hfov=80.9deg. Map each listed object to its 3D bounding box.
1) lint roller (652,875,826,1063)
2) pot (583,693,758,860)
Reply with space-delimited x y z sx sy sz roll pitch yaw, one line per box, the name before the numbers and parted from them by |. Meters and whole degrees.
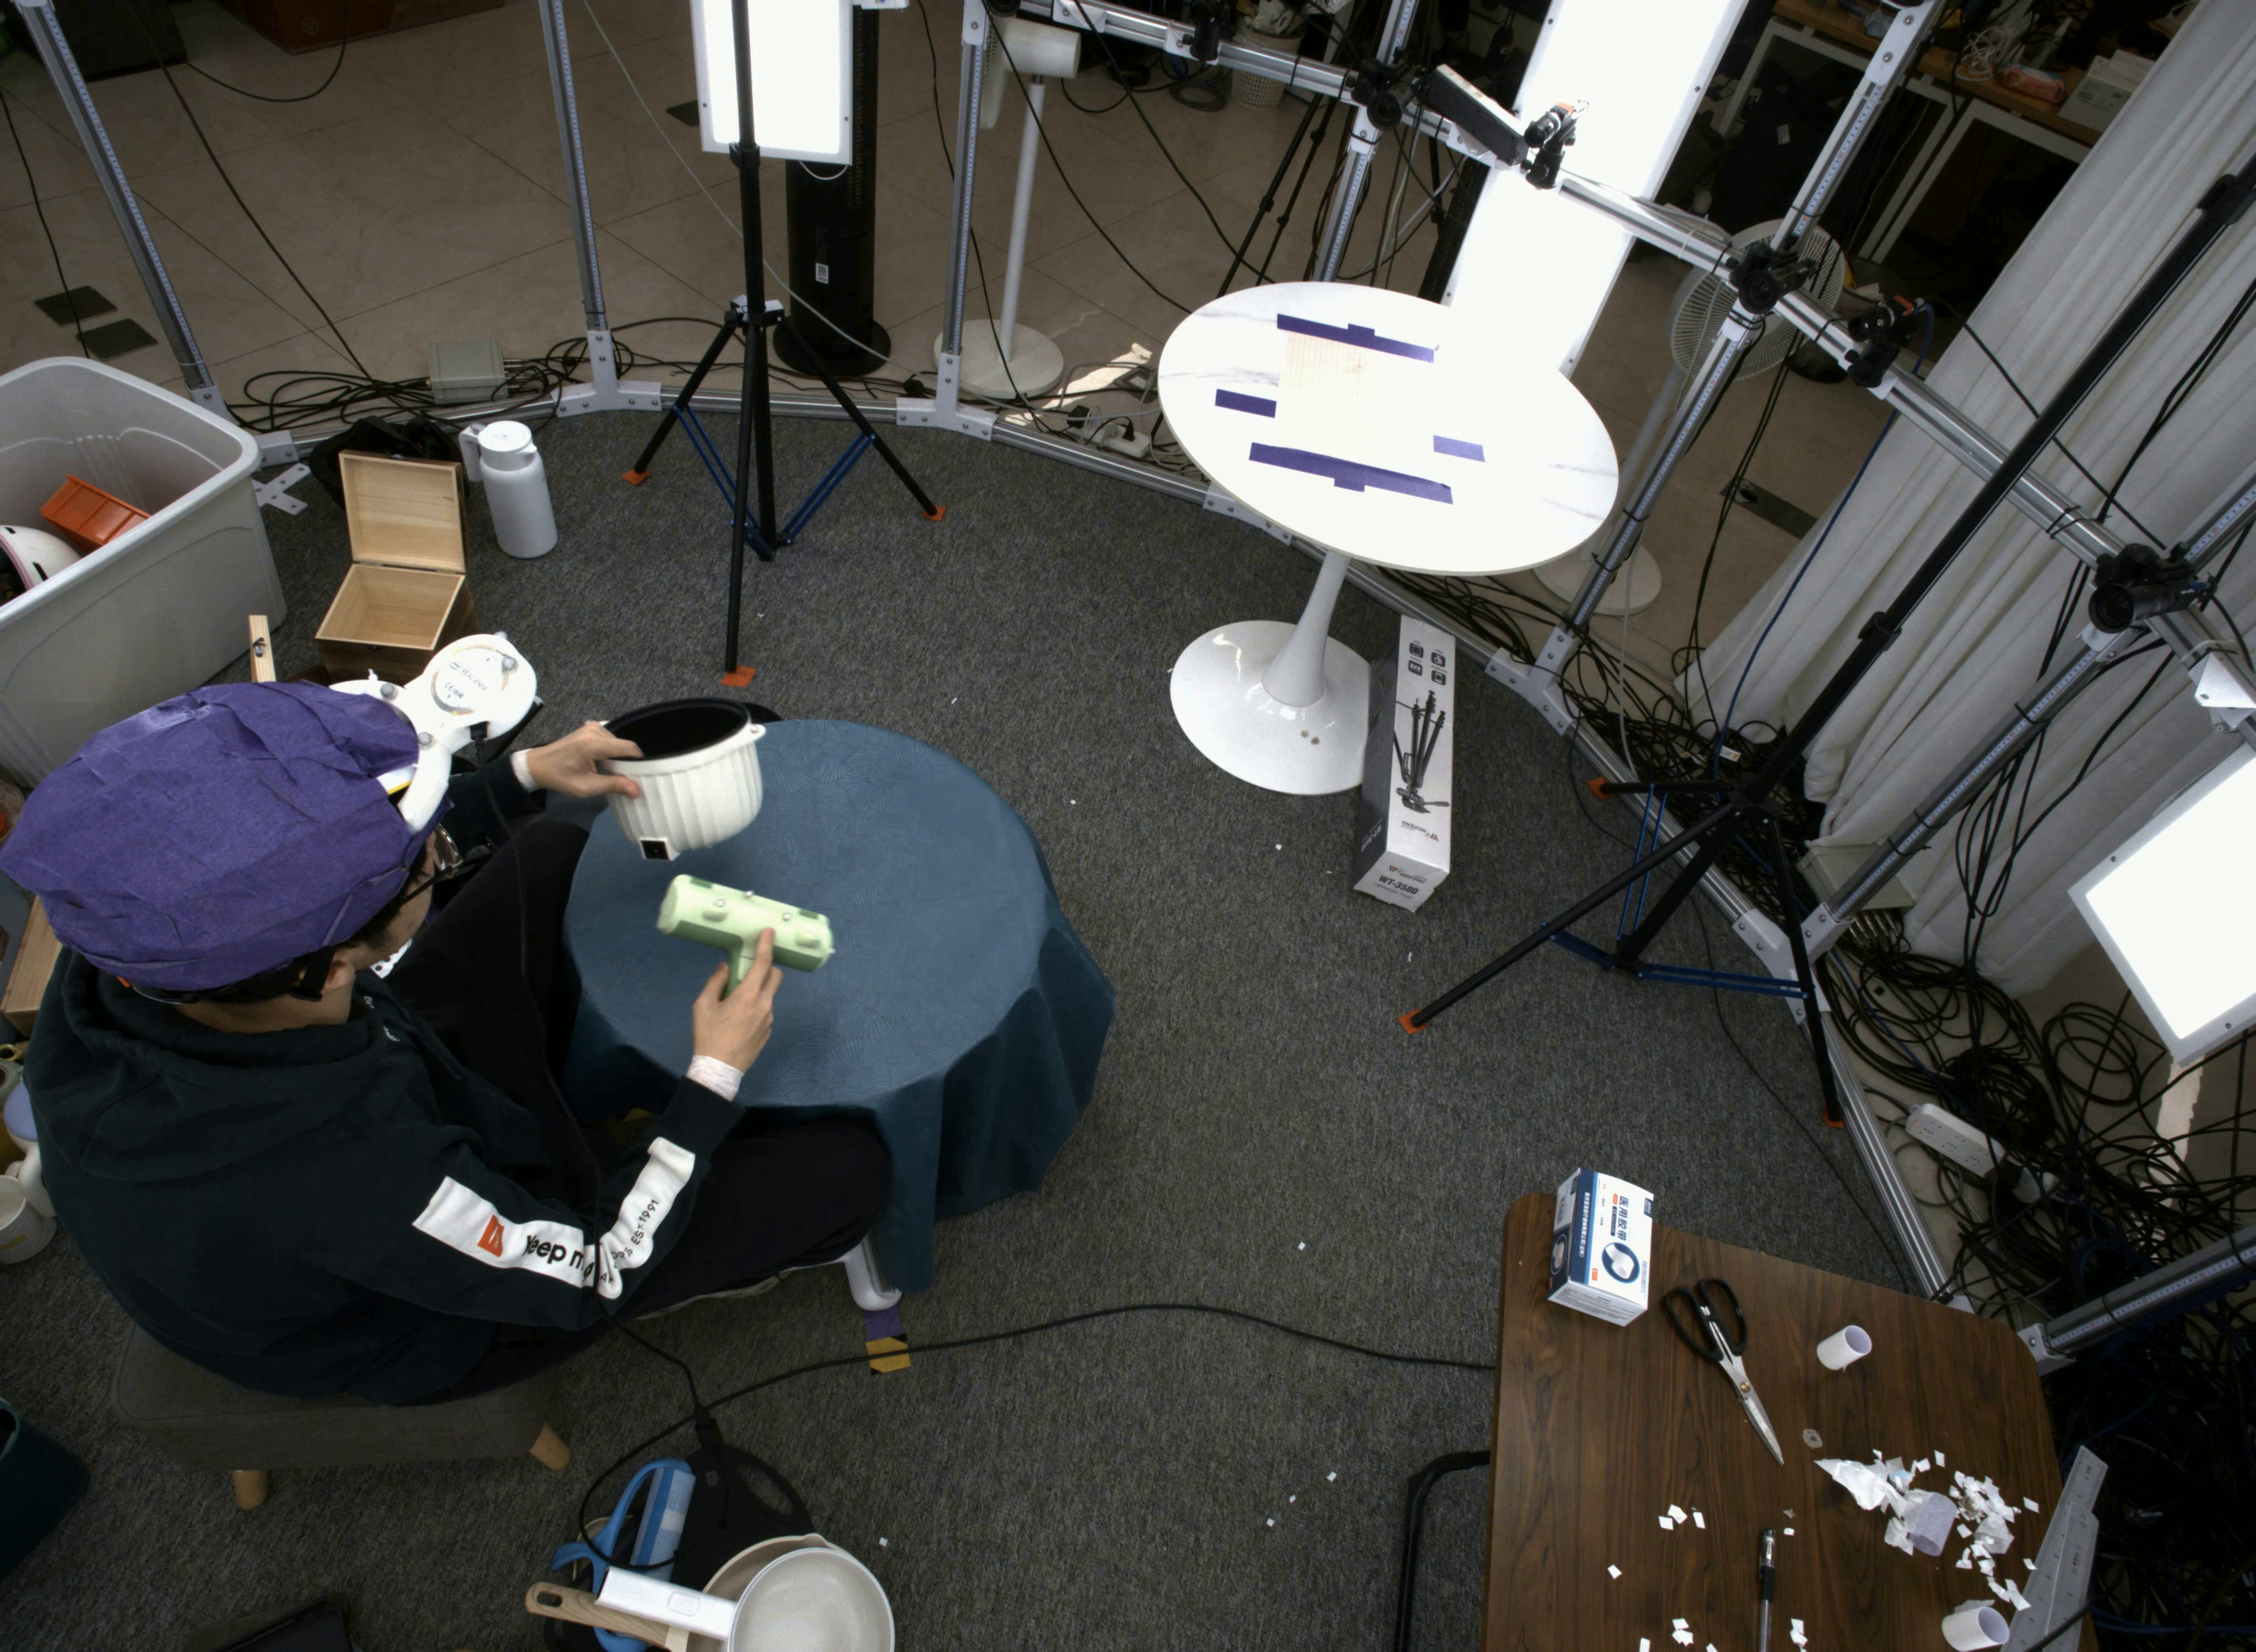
lint roller | -0.422 0.159 1.415 0.204 0.081 0.181 22 53 -42
pot | -0.532 -0.063 1.524 0.235 0.147 0.188 2 31 12
